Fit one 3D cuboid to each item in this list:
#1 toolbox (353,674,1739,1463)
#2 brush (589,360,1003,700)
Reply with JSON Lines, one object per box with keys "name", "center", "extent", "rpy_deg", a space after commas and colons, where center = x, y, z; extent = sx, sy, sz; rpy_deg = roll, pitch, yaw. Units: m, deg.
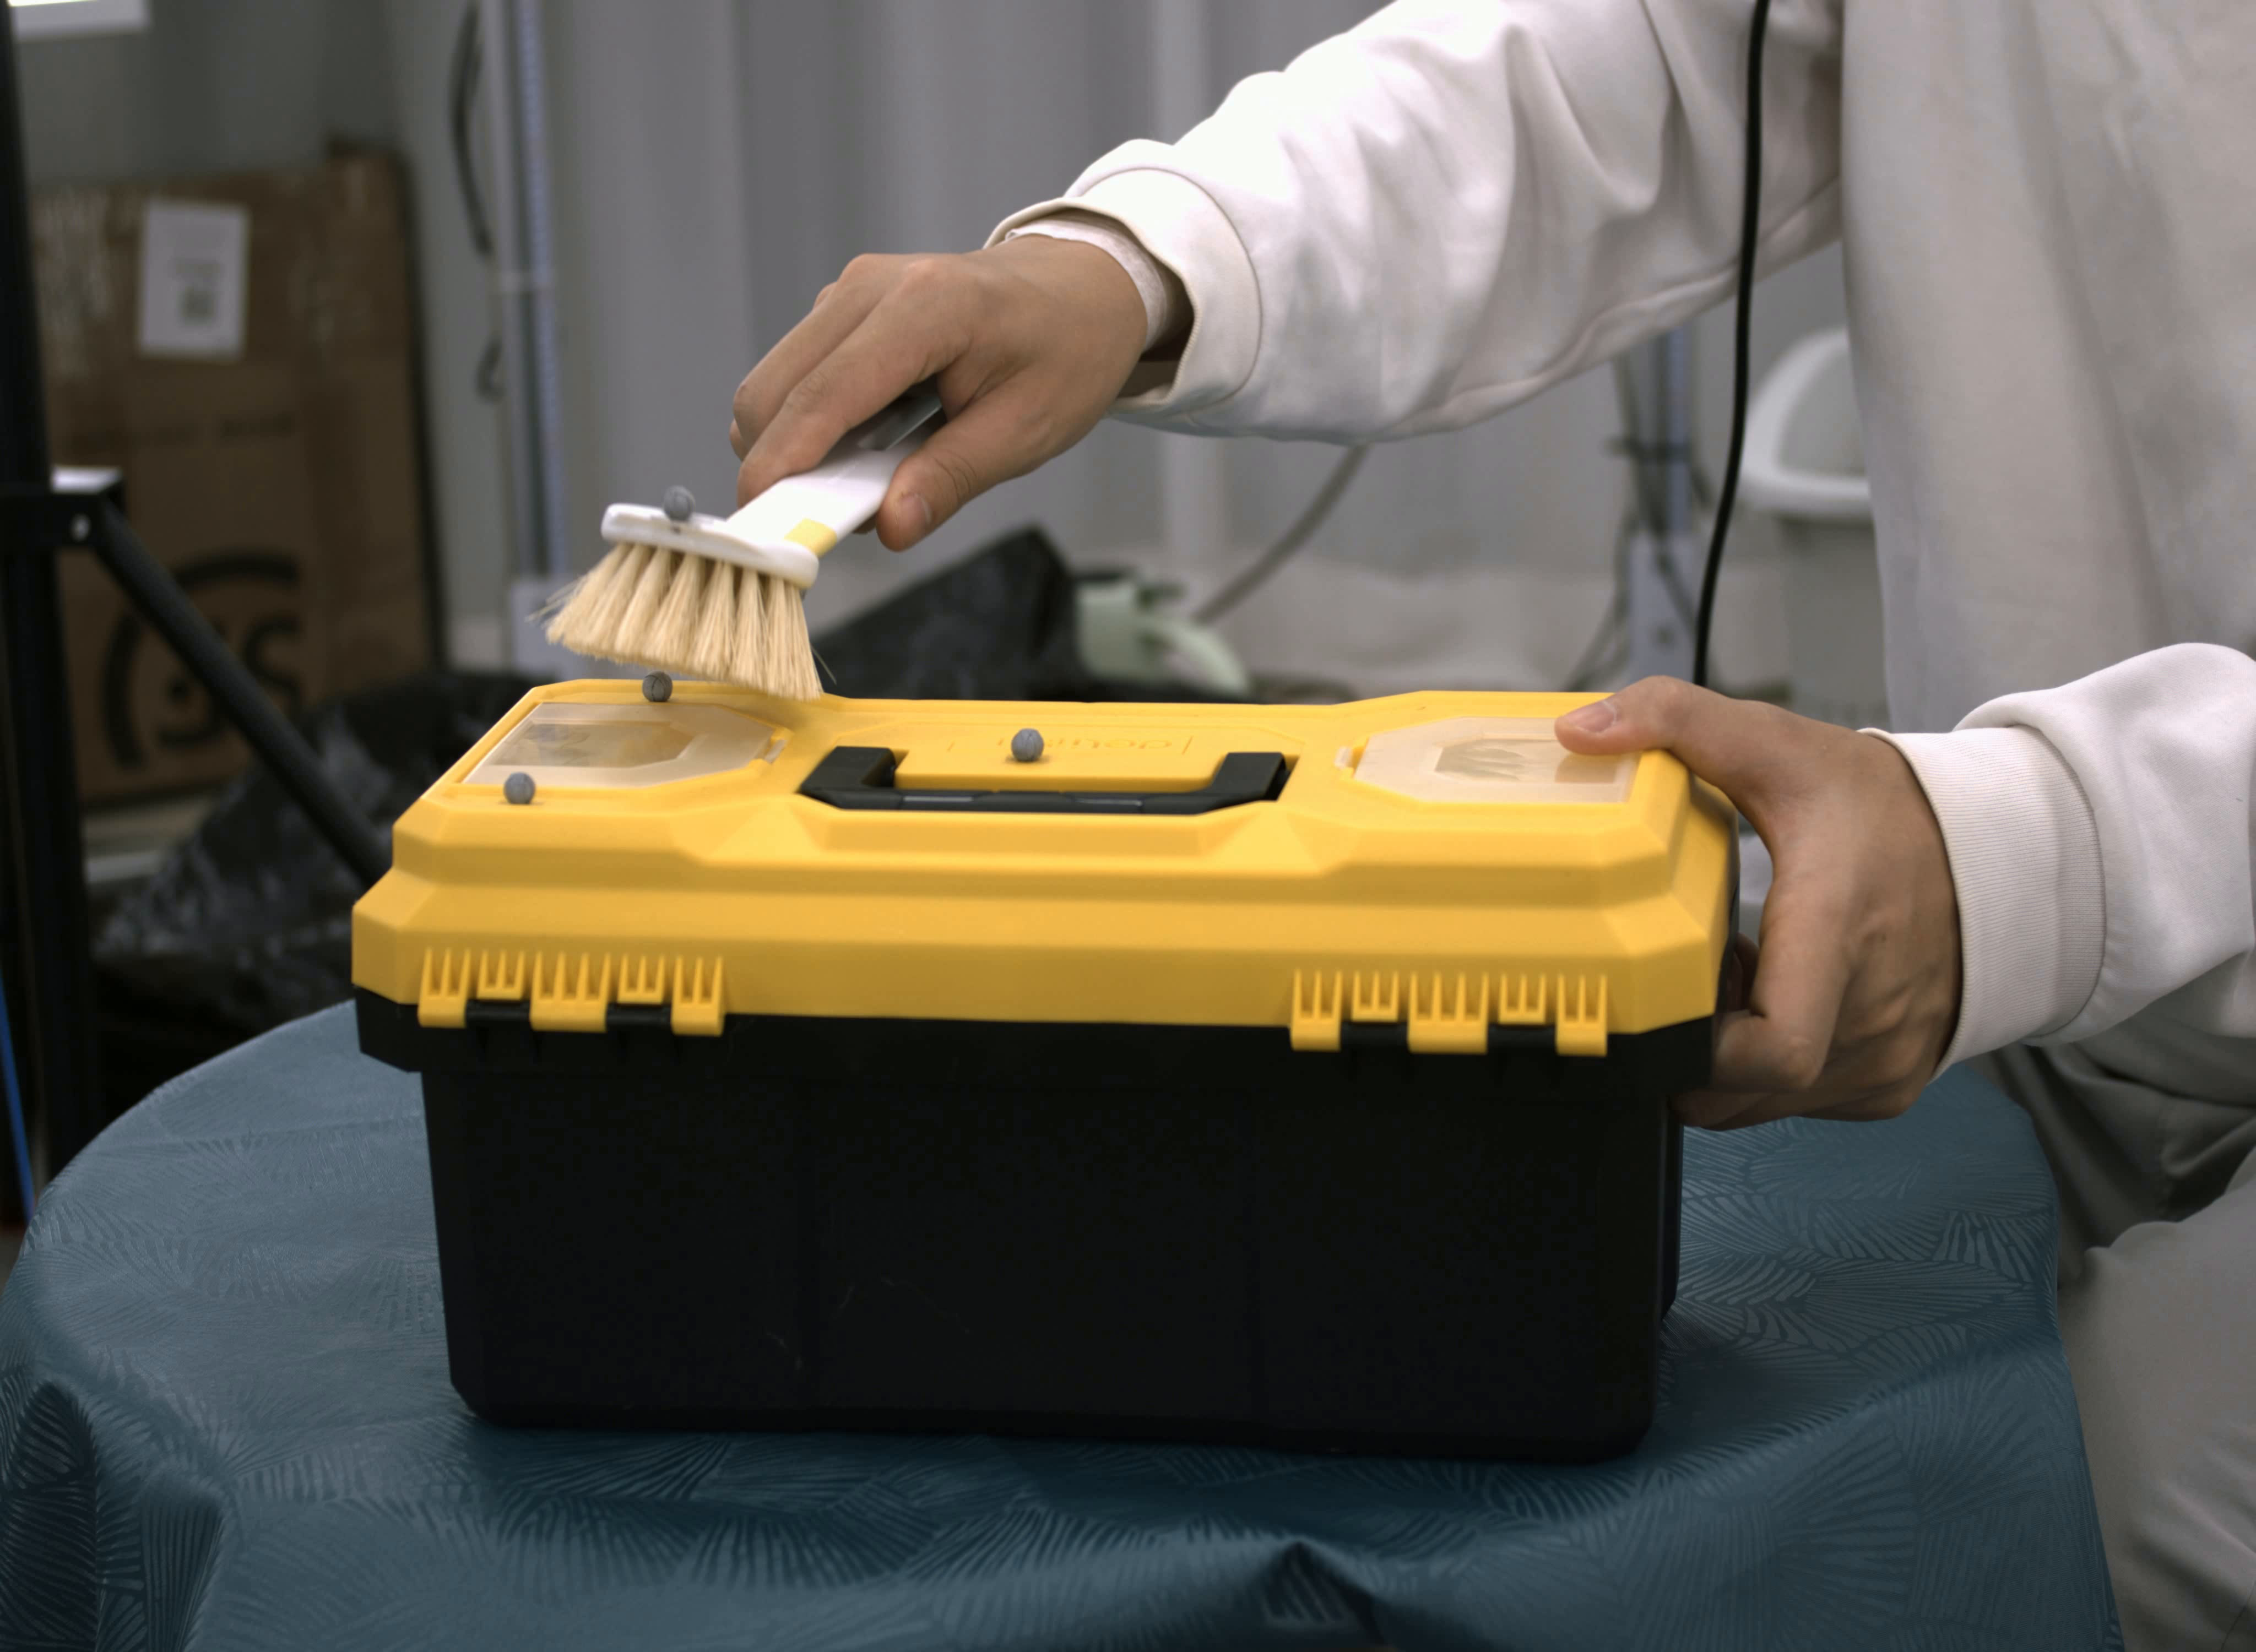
{"name": "toolbox", "center": [-0.016, 0.061, 1.411], "extent": [0.353, 0.173, 0.180], "rpy_deg": [1, 16, 11]}
{"name": "brush", "center": [-0.083, -0.086, 1.521], "extent": [0.069, 0.056, 0.264], "rpy_deg": [17, 17, 9]}
